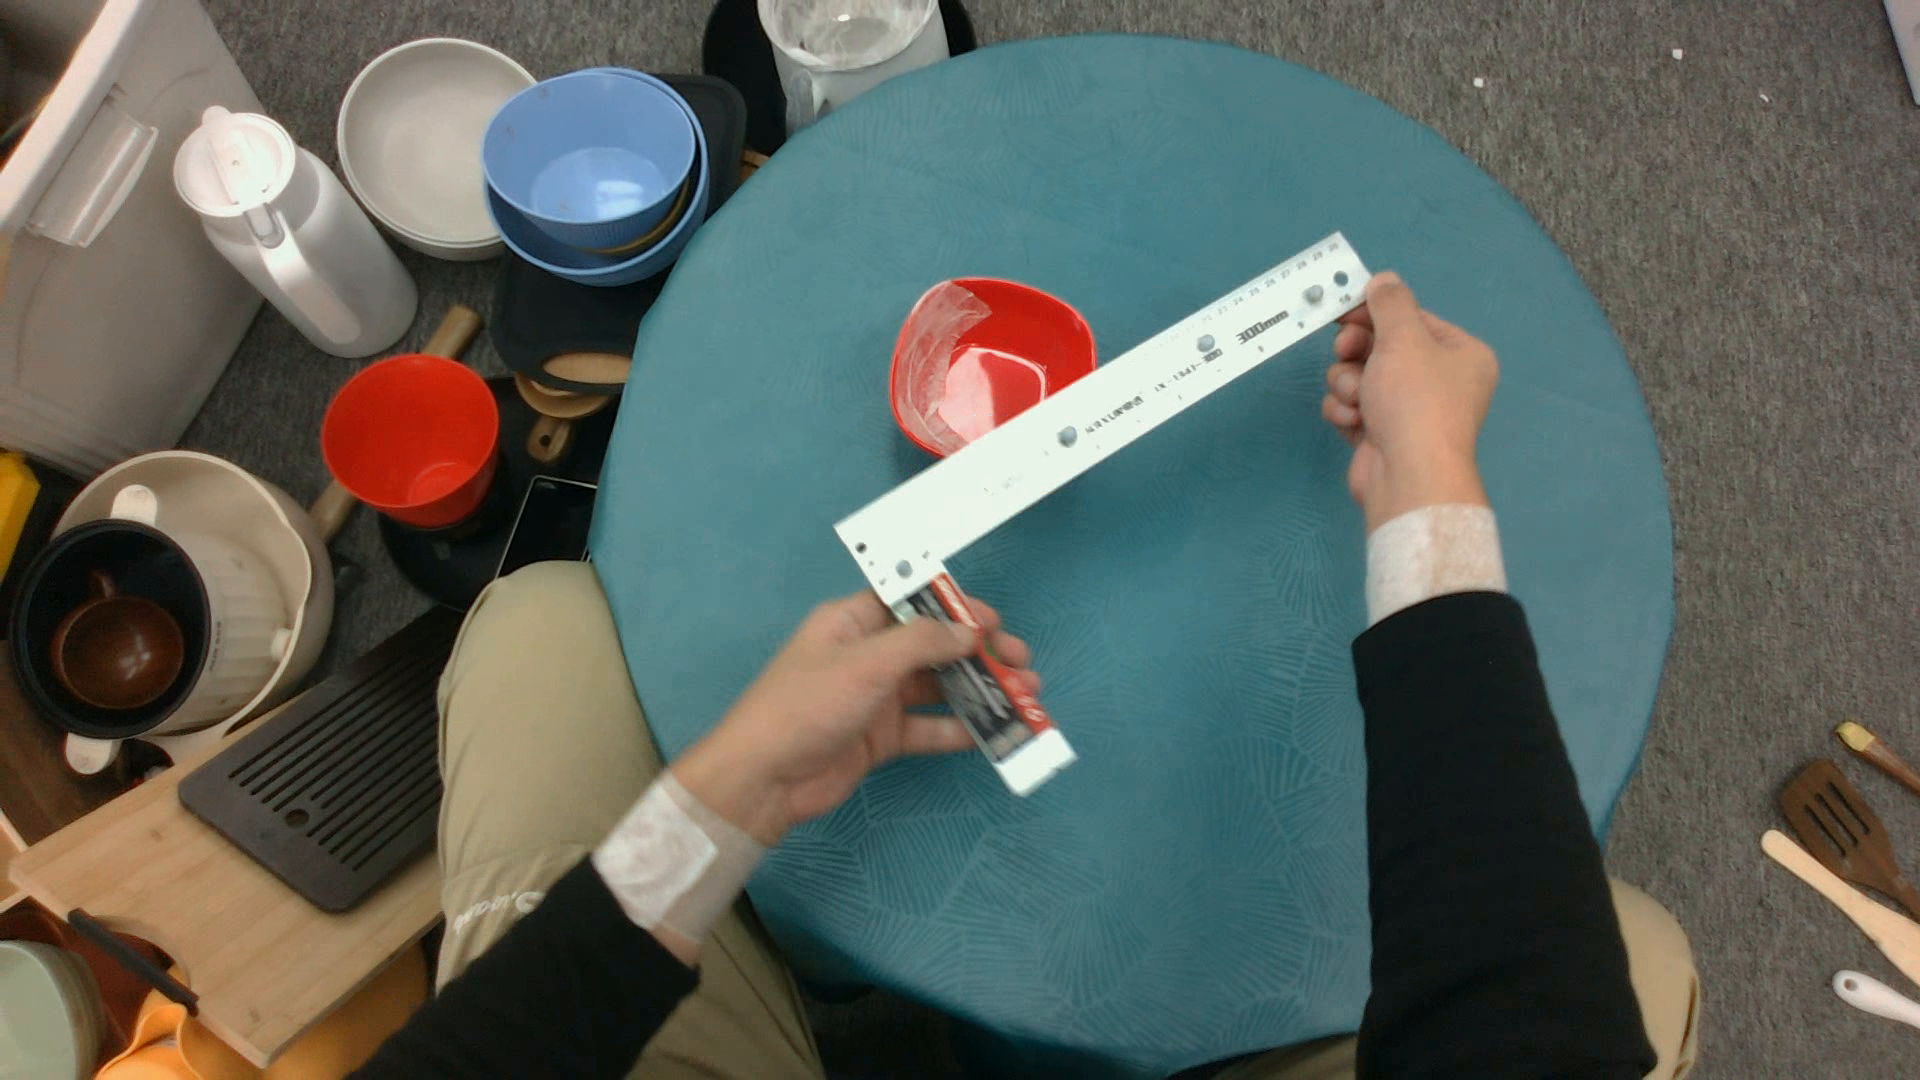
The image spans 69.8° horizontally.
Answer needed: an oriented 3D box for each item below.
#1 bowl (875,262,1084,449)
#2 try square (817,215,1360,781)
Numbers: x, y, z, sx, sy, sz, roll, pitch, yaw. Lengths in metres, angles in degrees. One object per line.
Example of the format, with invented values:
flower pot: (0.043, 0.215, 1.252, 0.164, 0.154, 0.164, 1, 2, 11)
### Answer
bowl: (0.009, -0.091, 0.758, 0.119, 0.051, 0.119, 2, 70, -5)
try square: (0.098, -0.029, 0.684, 0.313, 0.016, 0.152, -32, 82, -11)
